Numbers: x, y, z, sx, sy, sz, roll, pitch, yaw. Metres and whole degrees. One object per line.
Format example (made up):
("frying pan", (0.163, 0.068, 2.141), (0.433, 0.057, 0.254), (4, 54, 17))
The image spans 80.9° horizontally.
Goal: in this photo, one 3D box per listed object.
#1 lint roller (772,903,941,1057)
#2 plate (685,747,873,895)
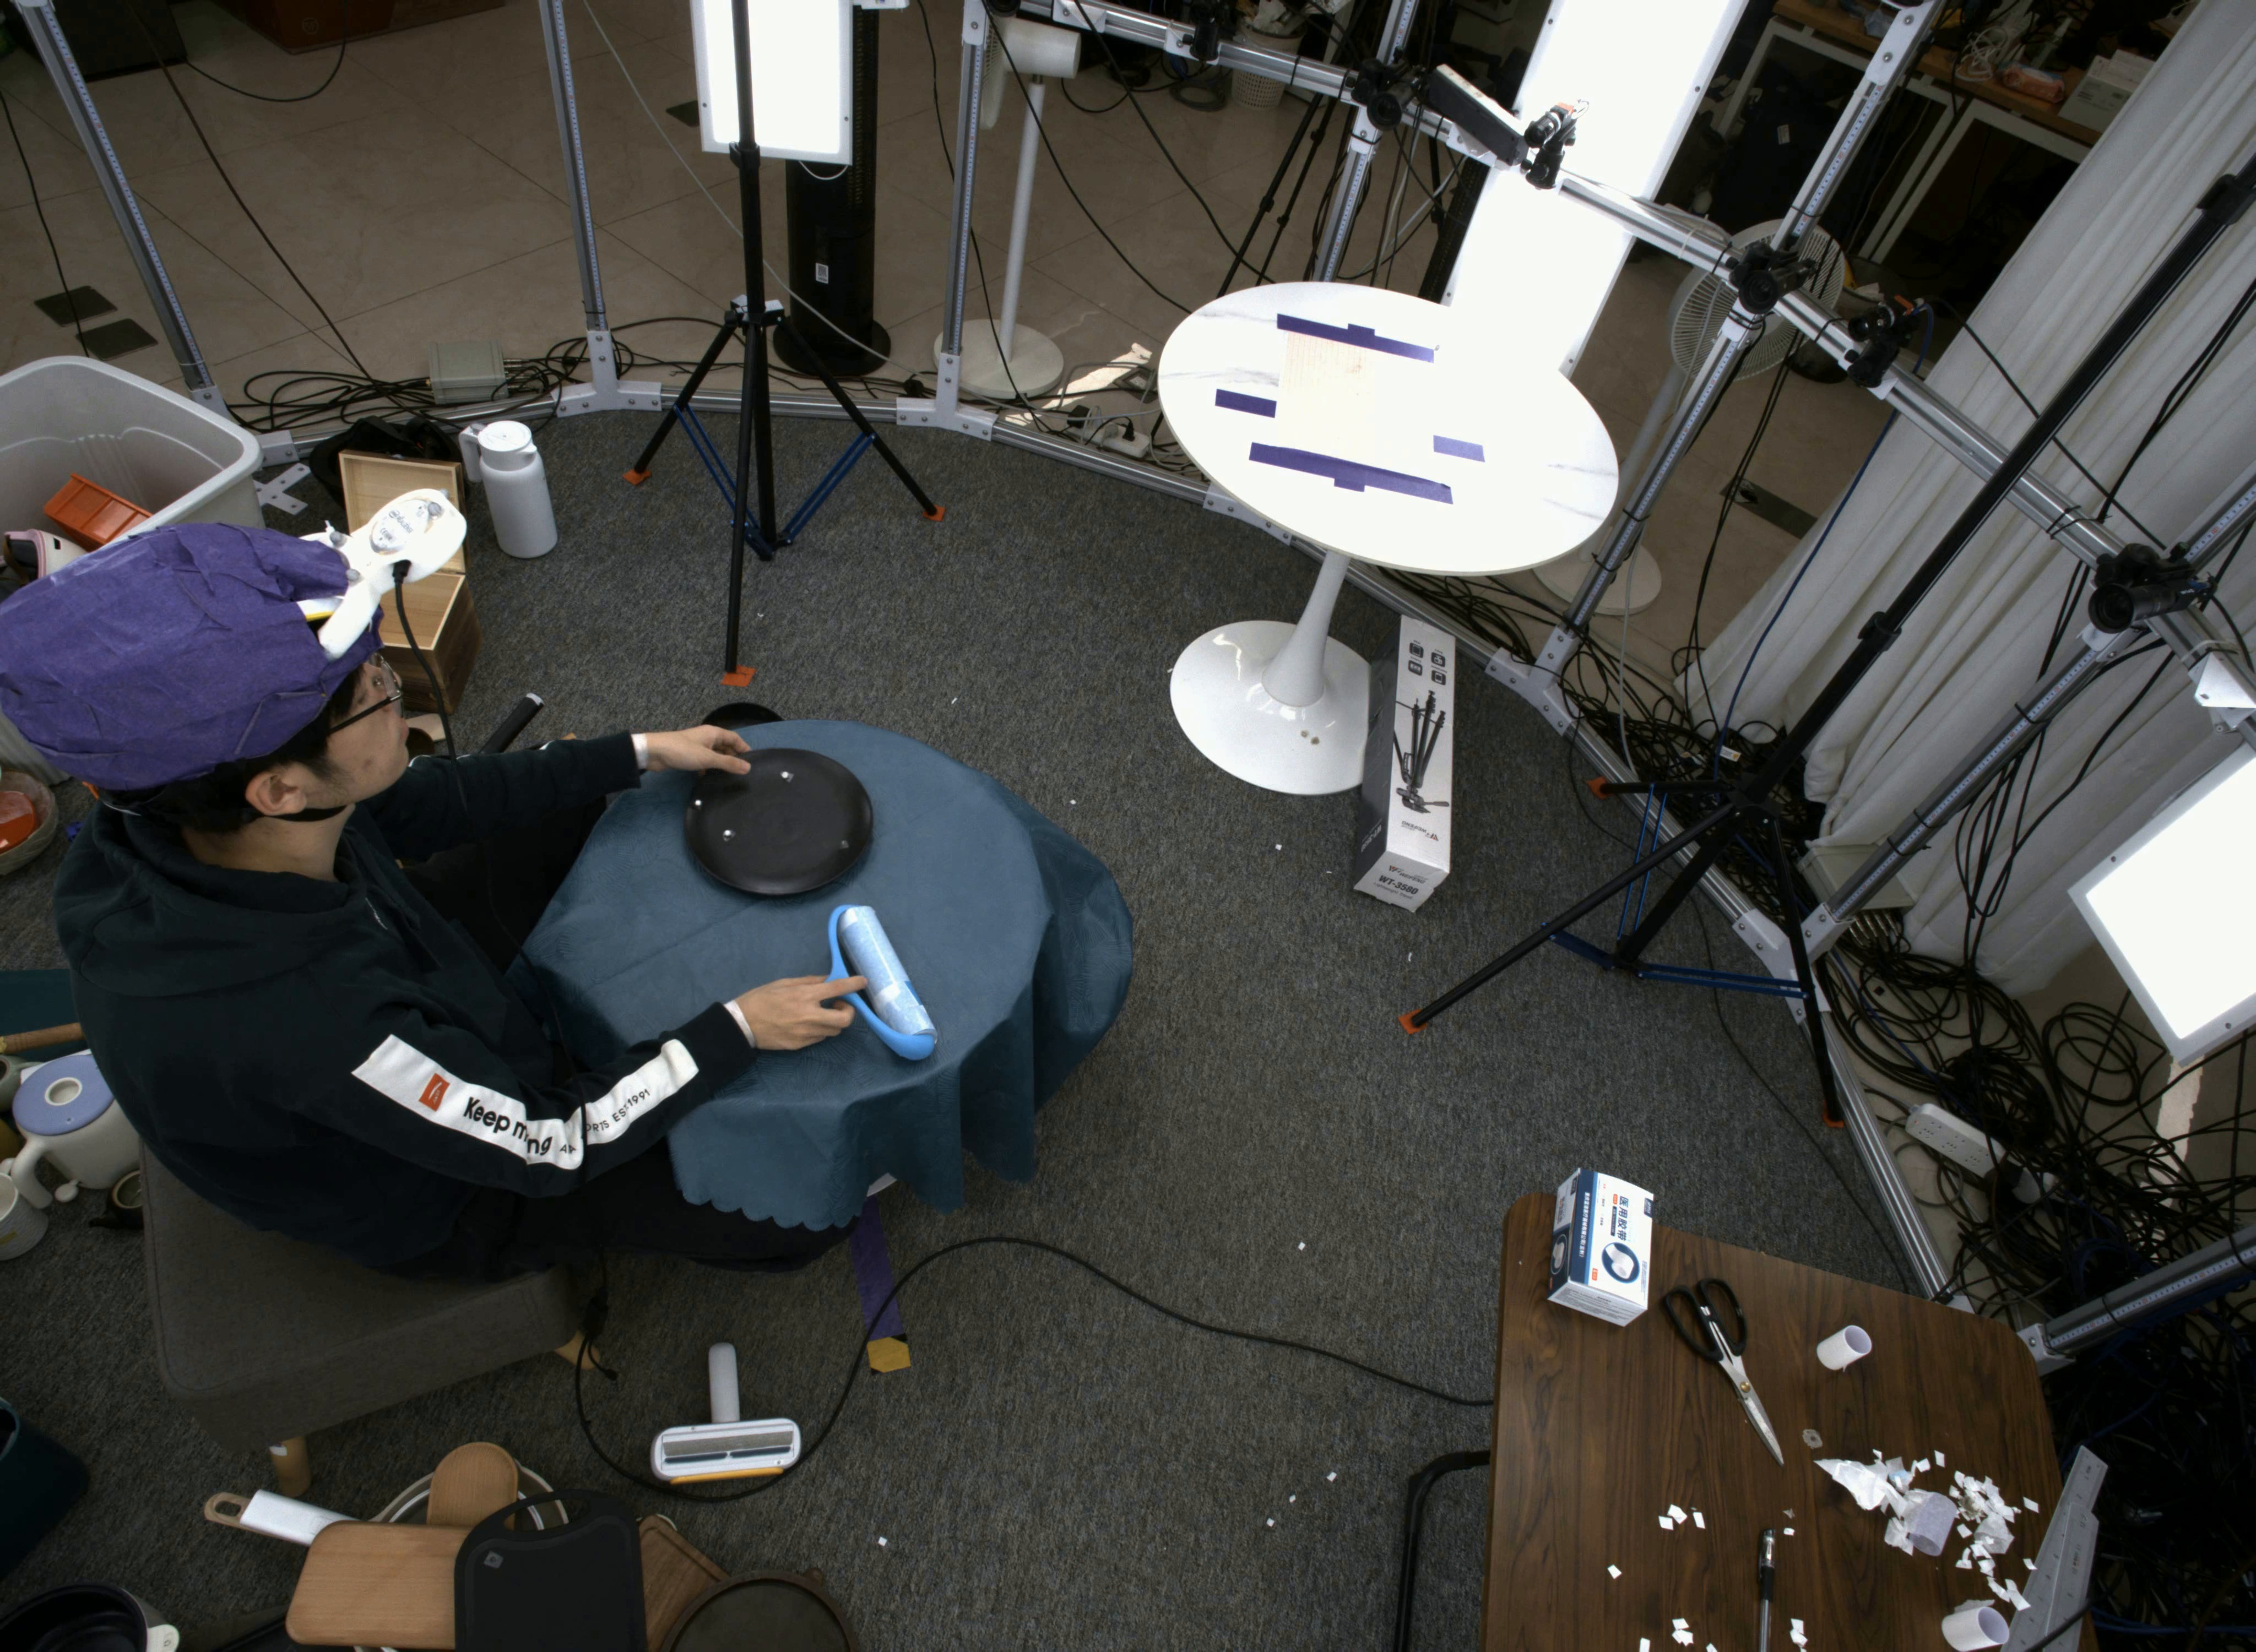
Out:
("lint roller", (-0.344, 0.204, 1.564), (0.181, 0.069, 0.223), (-24, 64, -27))
("plate", (-0.459, -0.006, 1.711), (0.244, 0.024, 0.240), (8, 53, -9))
